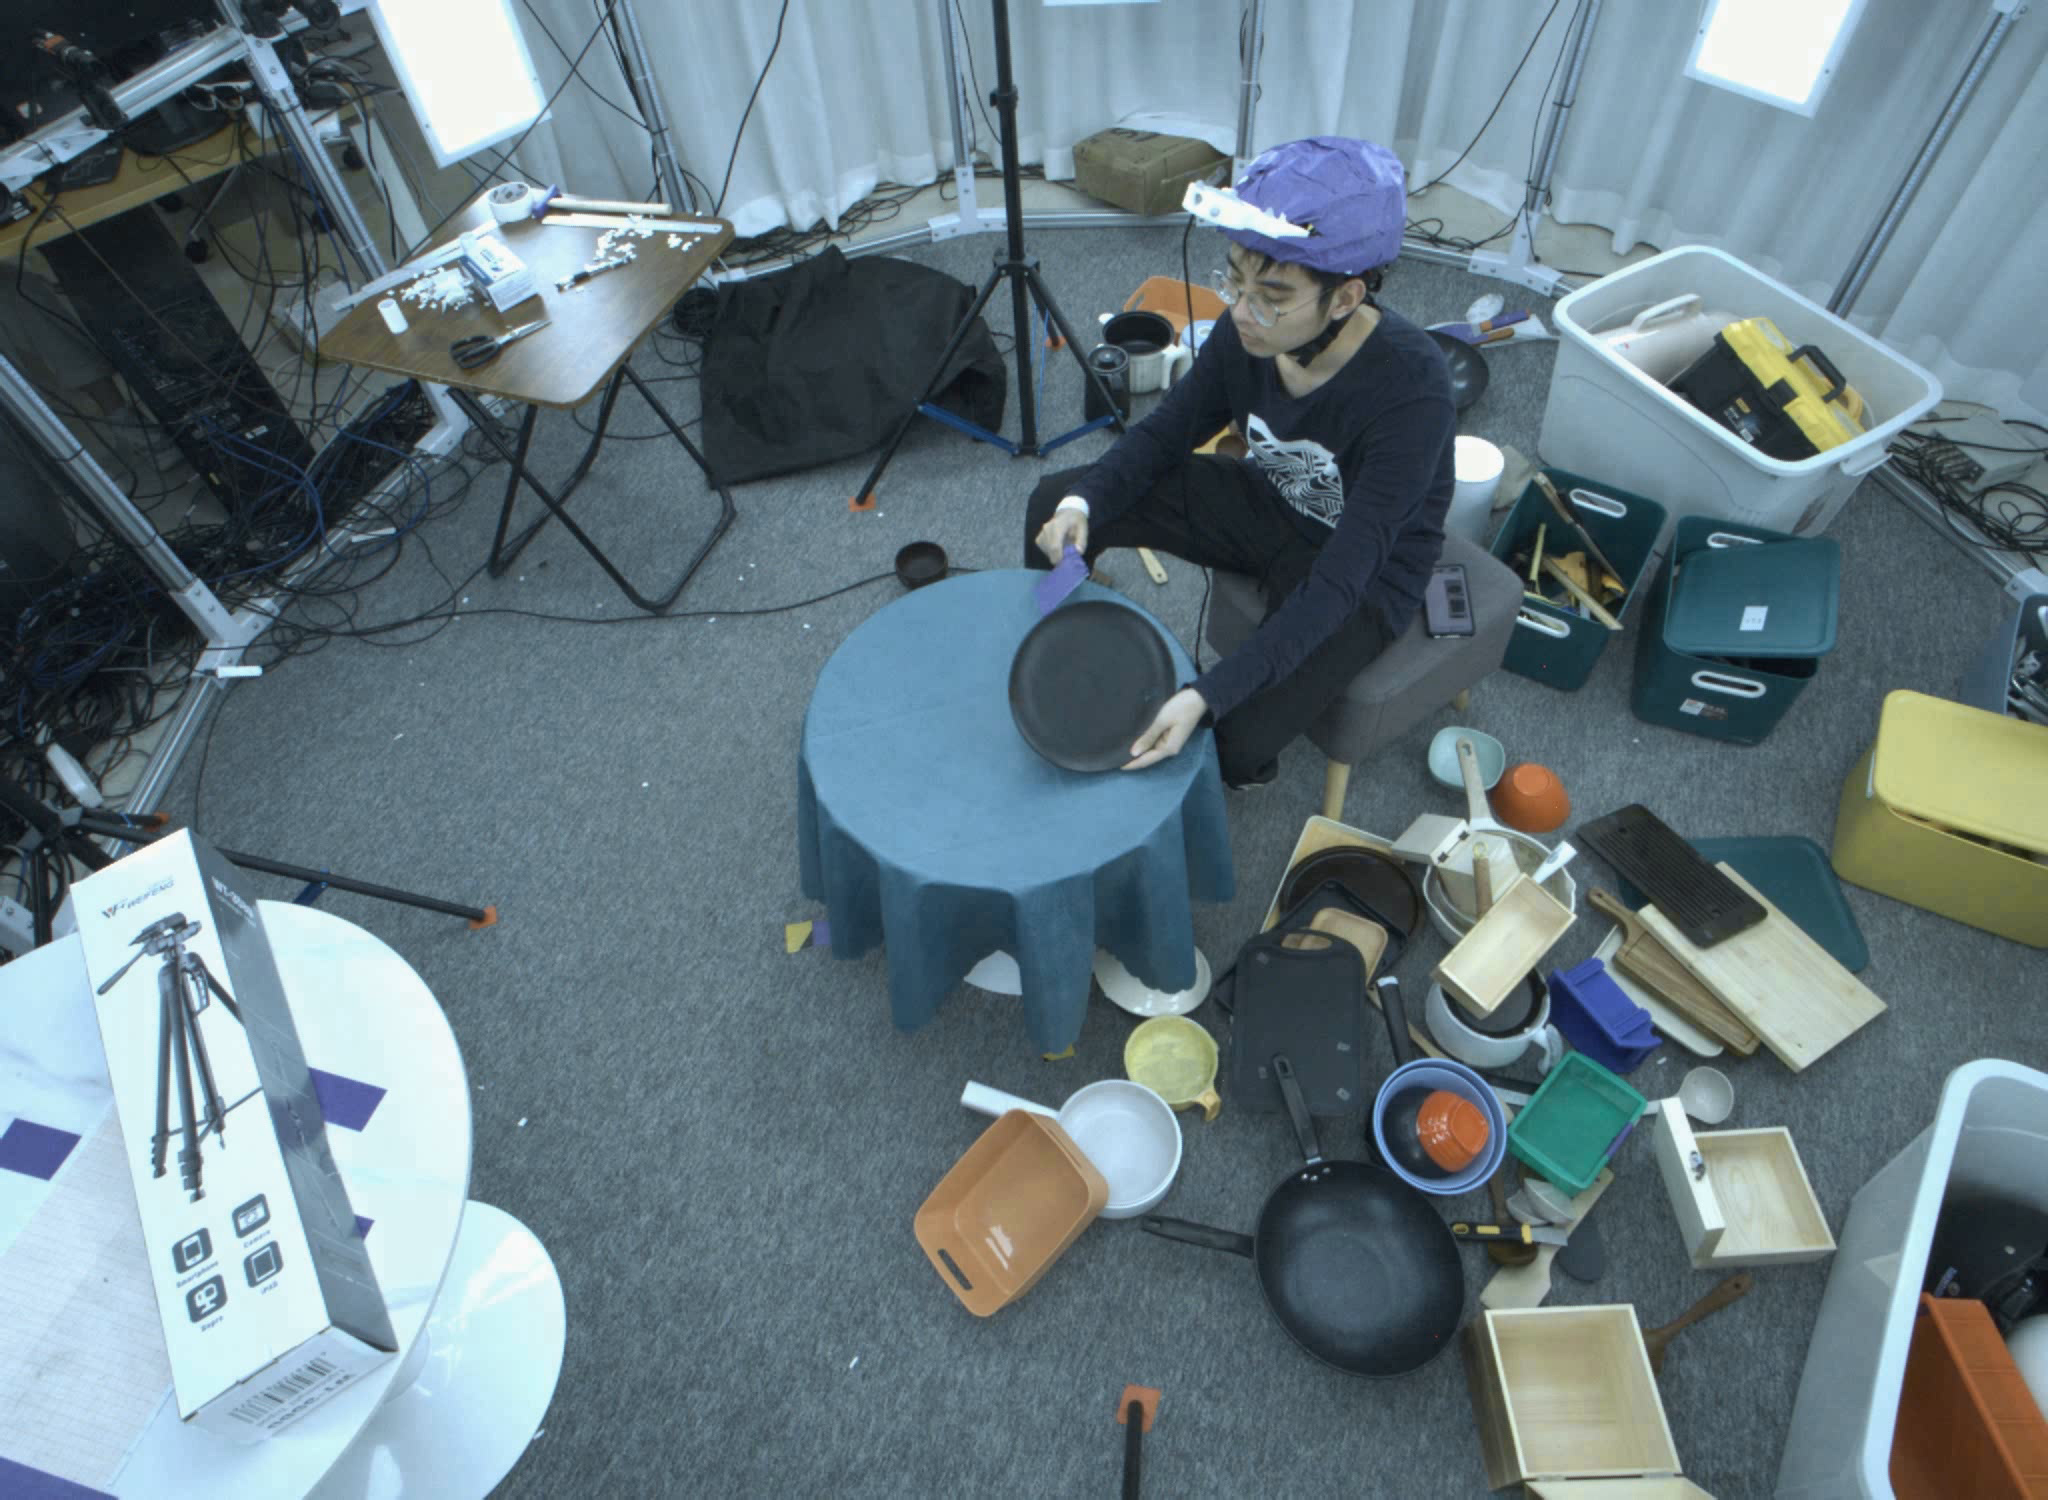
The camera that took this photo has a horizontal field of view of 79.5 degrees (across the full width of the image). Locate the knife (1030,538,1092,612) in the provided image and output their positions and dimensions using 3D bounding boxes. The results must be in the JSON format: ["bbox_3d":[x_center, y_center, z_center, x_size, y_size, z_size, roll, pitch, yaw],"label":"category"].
[{"bbox_3d":[0.046,-0.263,1.825,0.103,0.312,0.032,-42,103,10],"label":"knife"}]

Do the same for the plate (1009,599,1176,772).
[{"bbox_3d":[0.096,-0.091,1.736,0.246,0.246,0.023,-18,14,-11],"label":"plate"}]
